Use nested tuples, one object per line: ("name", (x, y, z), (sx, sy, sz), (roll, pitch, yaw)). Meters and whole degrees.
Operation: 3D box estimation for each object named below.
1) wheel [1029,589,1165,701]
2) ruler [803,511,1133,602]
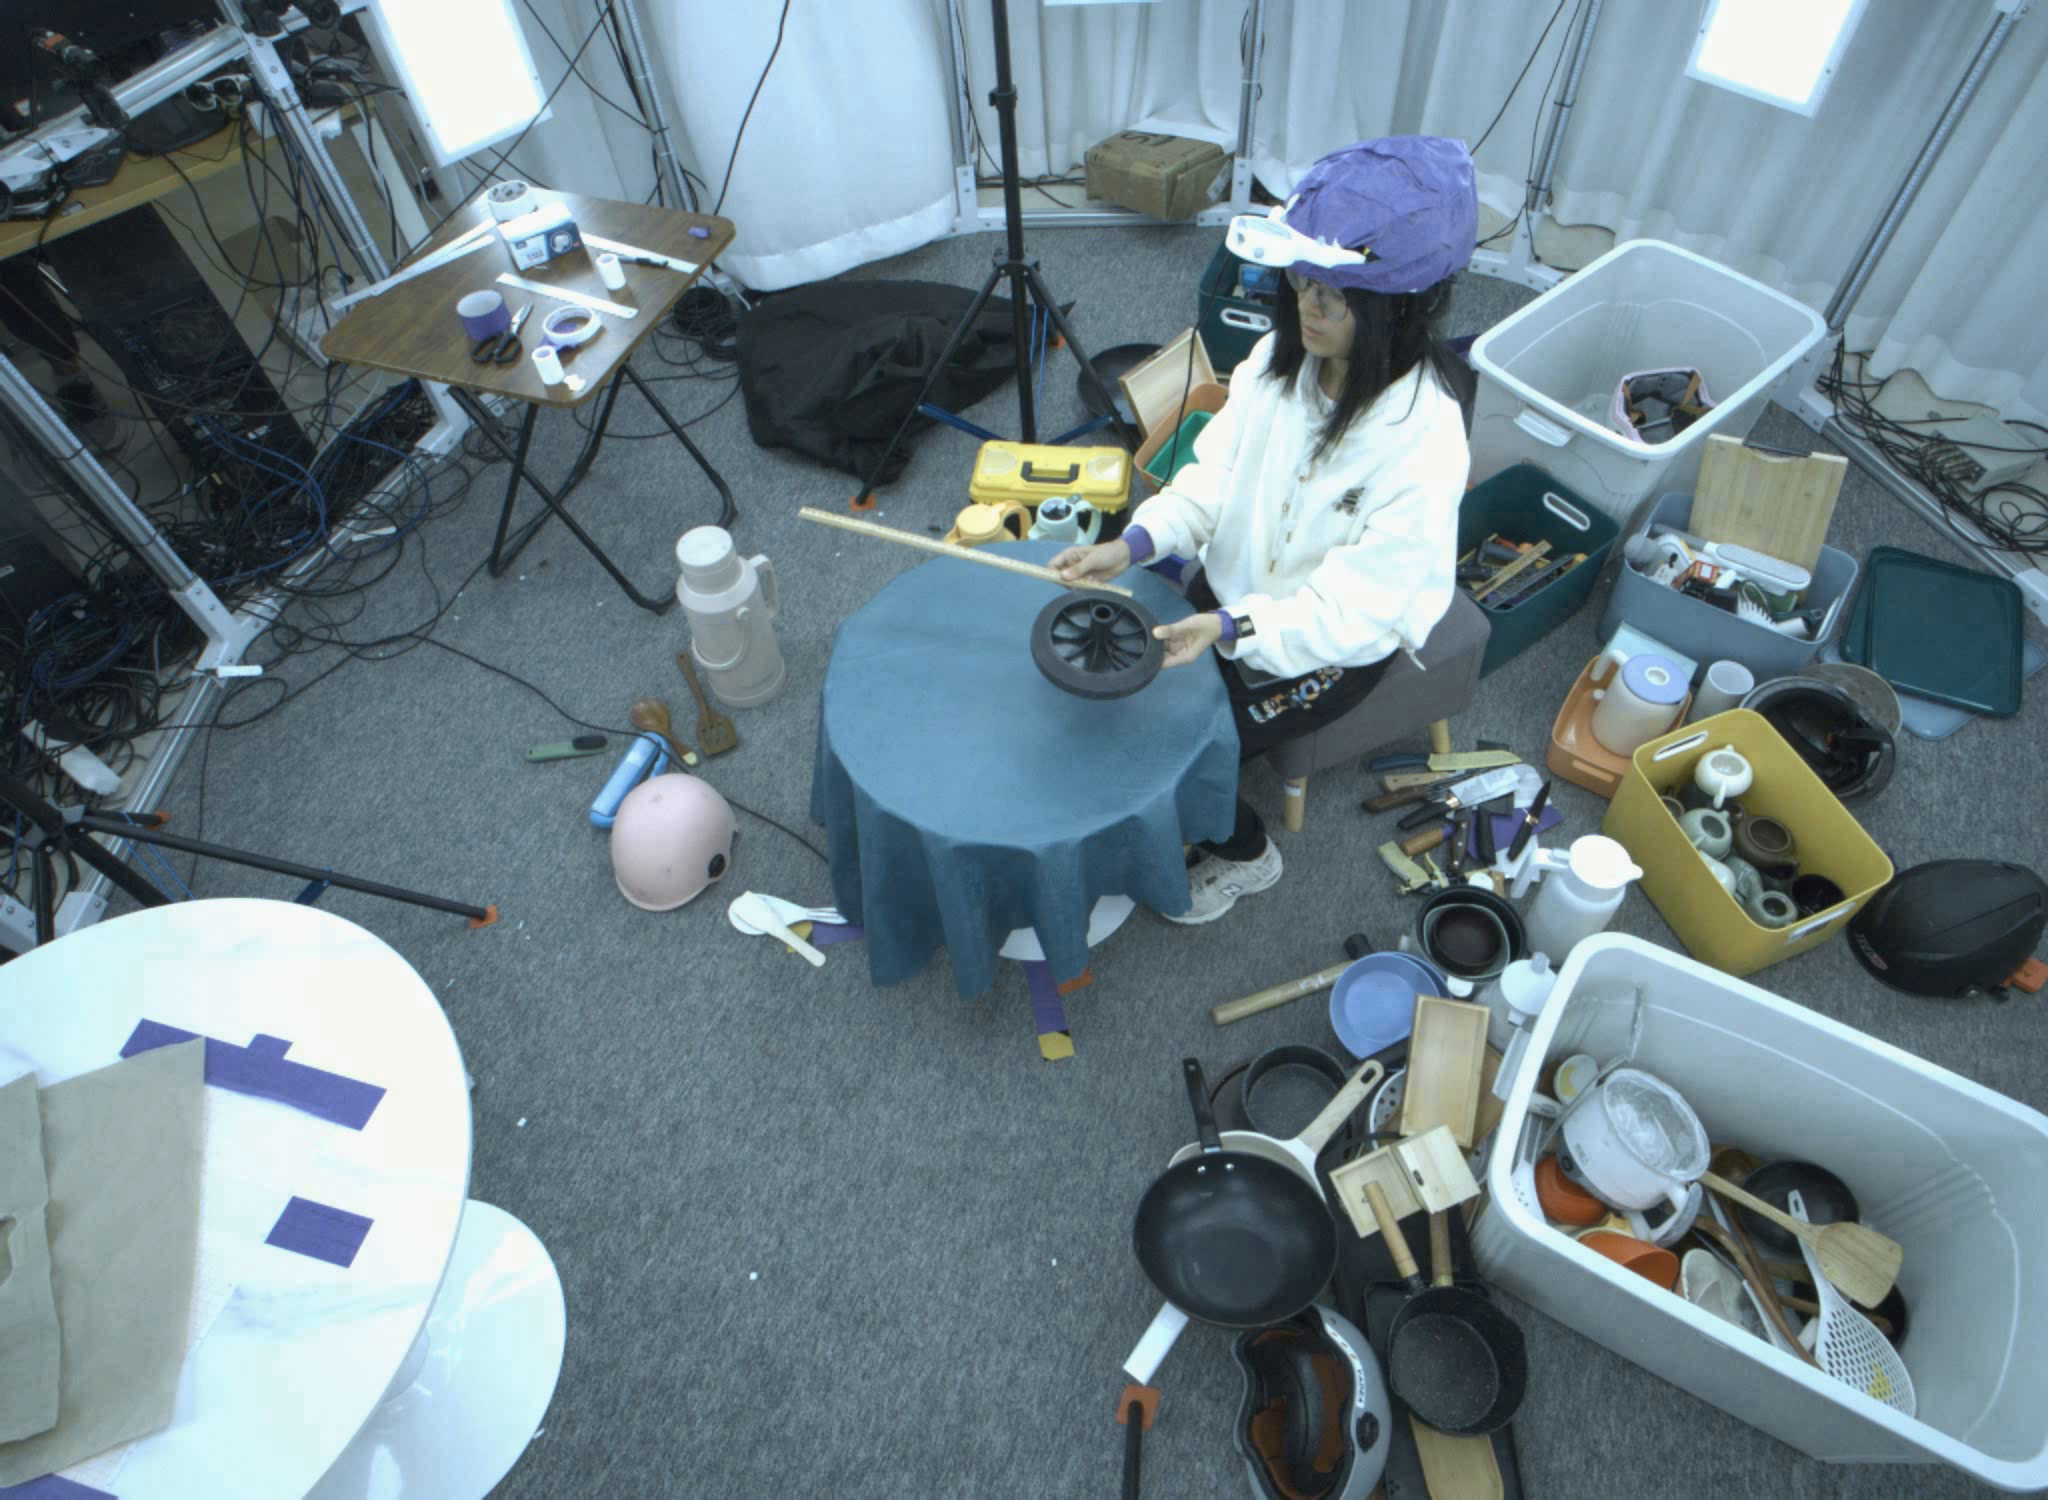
("wheel", (0.104, -0.160, 1.698), (0.189, 0.079, 0.187), (19, 57, 5))
("ruler", (-0.086, -0.286, 1.777), (0.500, 0.006, 0.026), (15, 40, 1))
